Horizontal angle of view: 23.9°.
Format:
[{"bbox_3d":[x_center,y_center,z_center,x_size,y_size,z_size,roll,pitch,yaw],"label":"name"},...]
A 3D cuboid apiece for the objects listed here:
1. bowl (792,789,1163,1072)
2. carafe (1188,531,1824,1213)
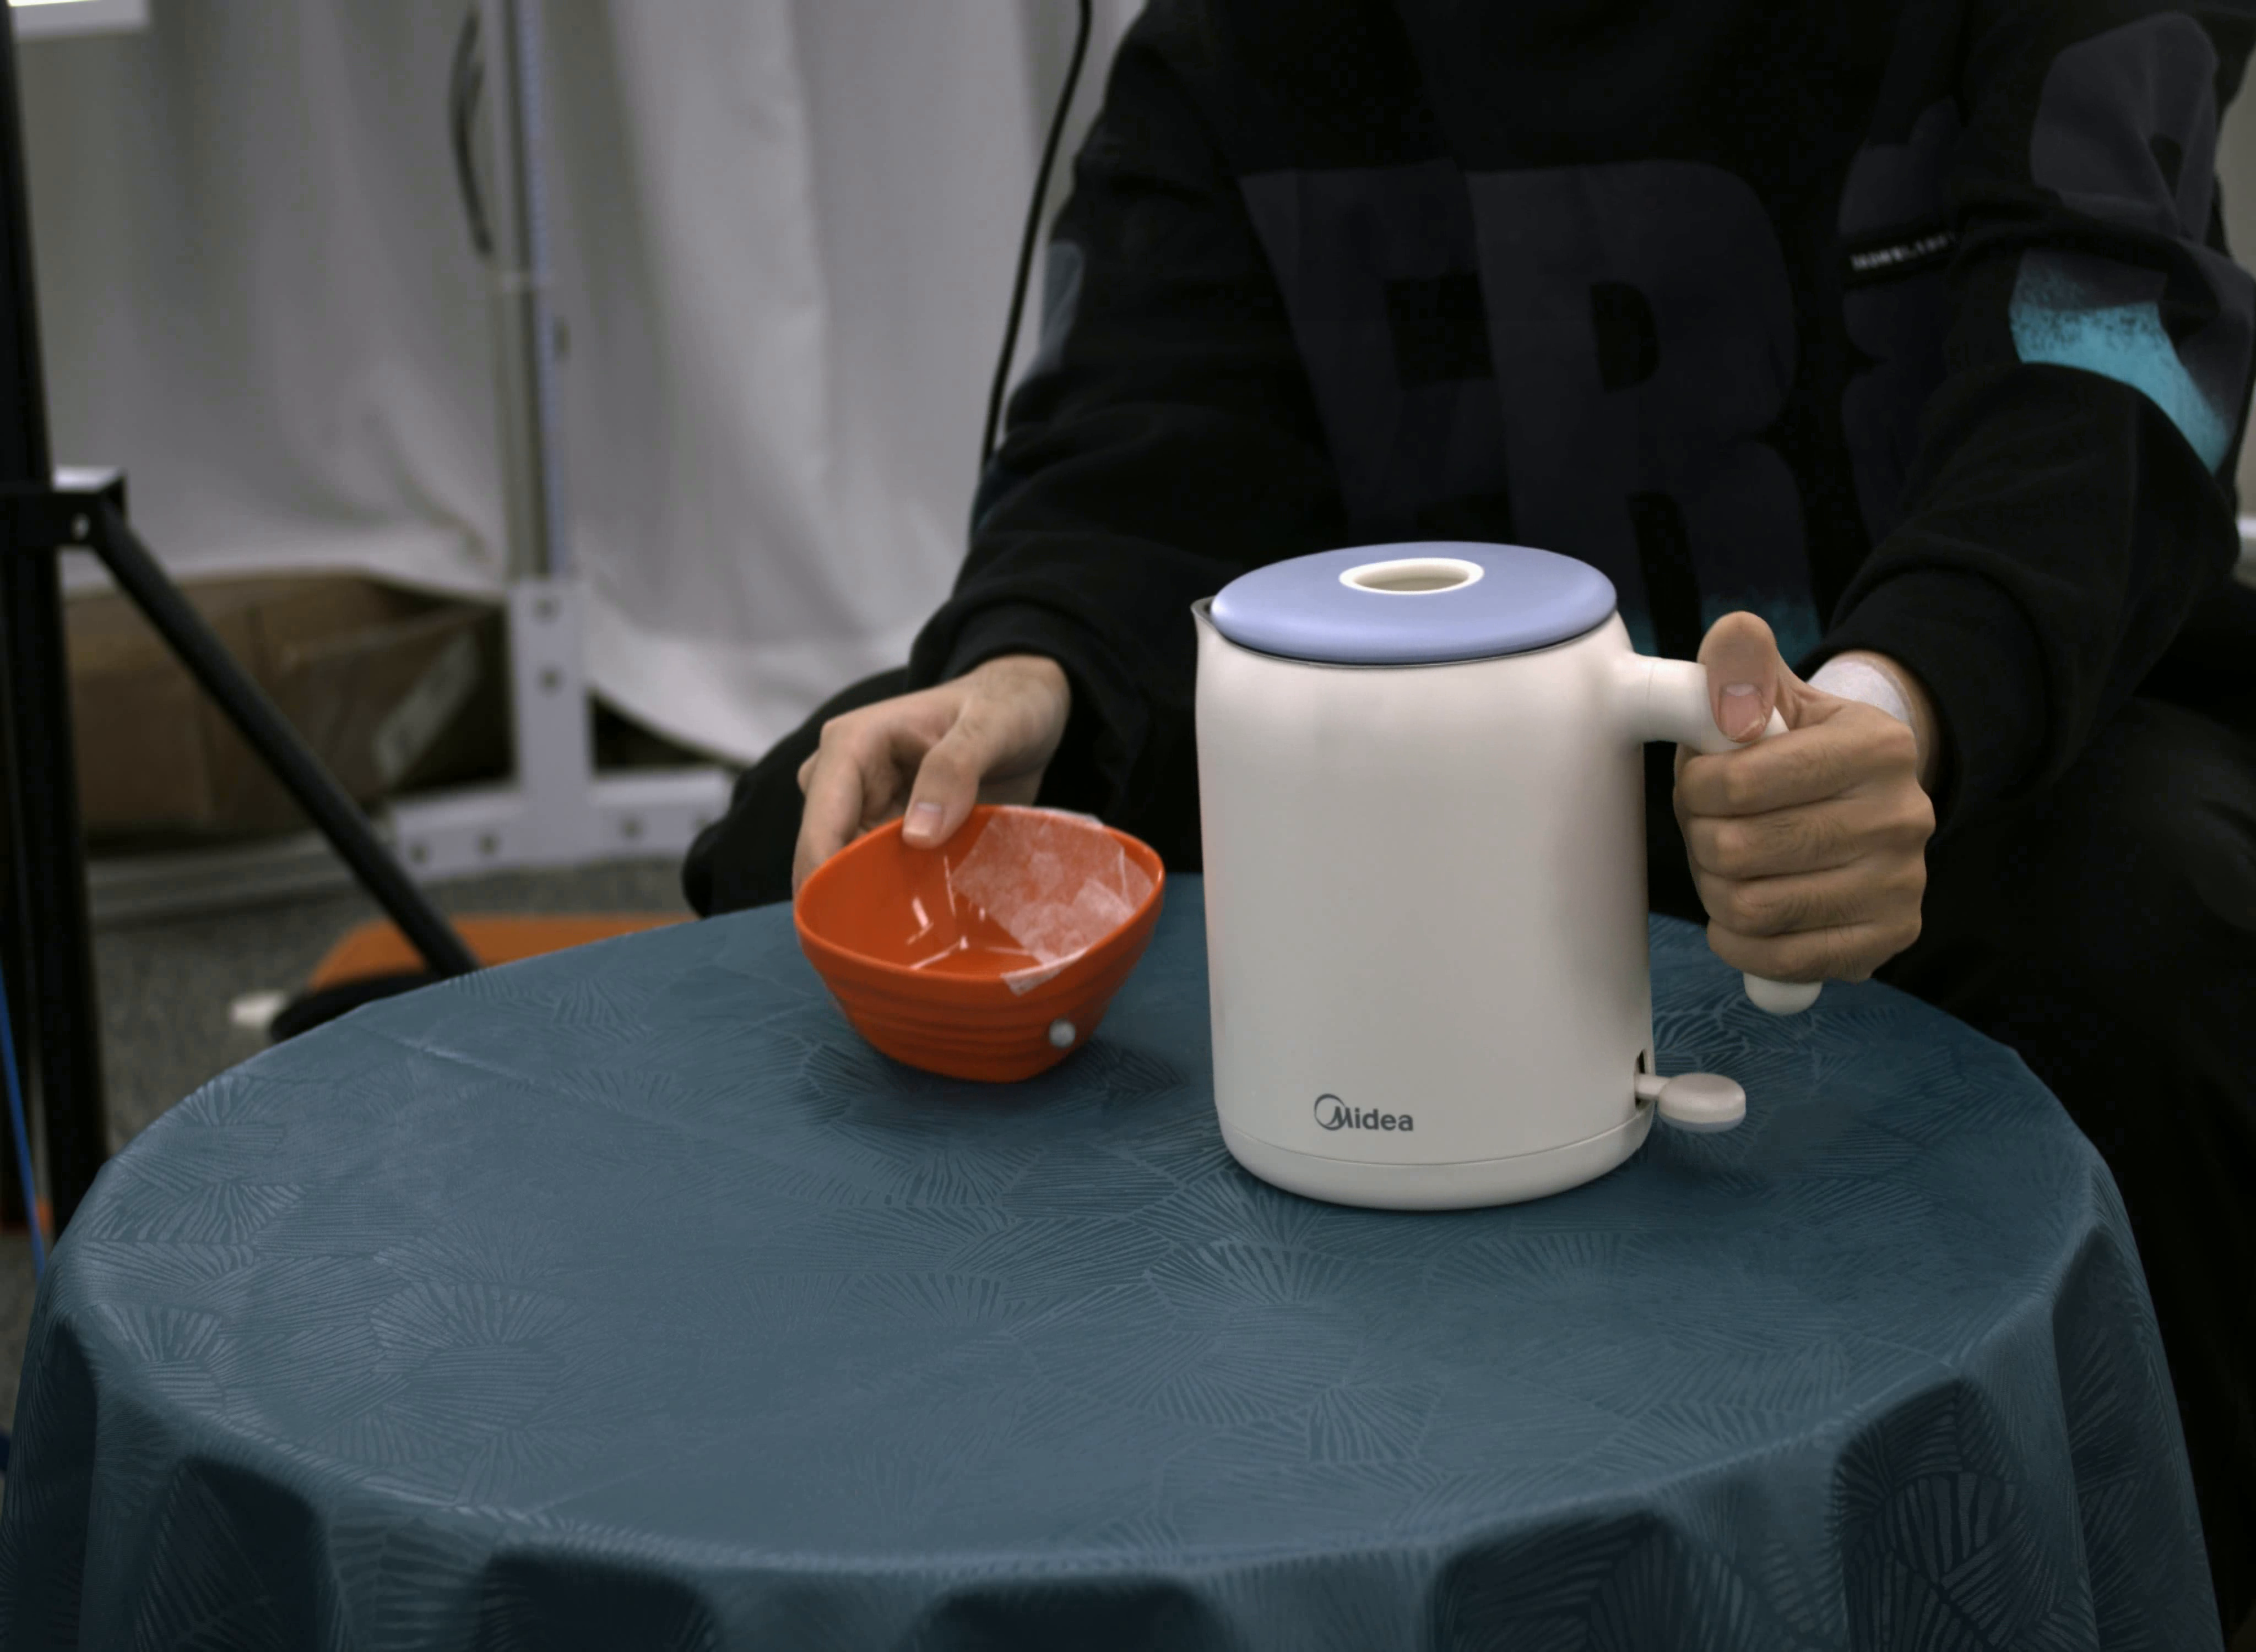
[{"bbox_3d":[-0.044,0.037,1.679,0.118,0.051,0.120,-7,28,2],"label":"bowl"},{"bbox_3d":[0.110,0.015,1.552,0.193,0.182,0.131,5,19,20],"label":"carafe"}]
